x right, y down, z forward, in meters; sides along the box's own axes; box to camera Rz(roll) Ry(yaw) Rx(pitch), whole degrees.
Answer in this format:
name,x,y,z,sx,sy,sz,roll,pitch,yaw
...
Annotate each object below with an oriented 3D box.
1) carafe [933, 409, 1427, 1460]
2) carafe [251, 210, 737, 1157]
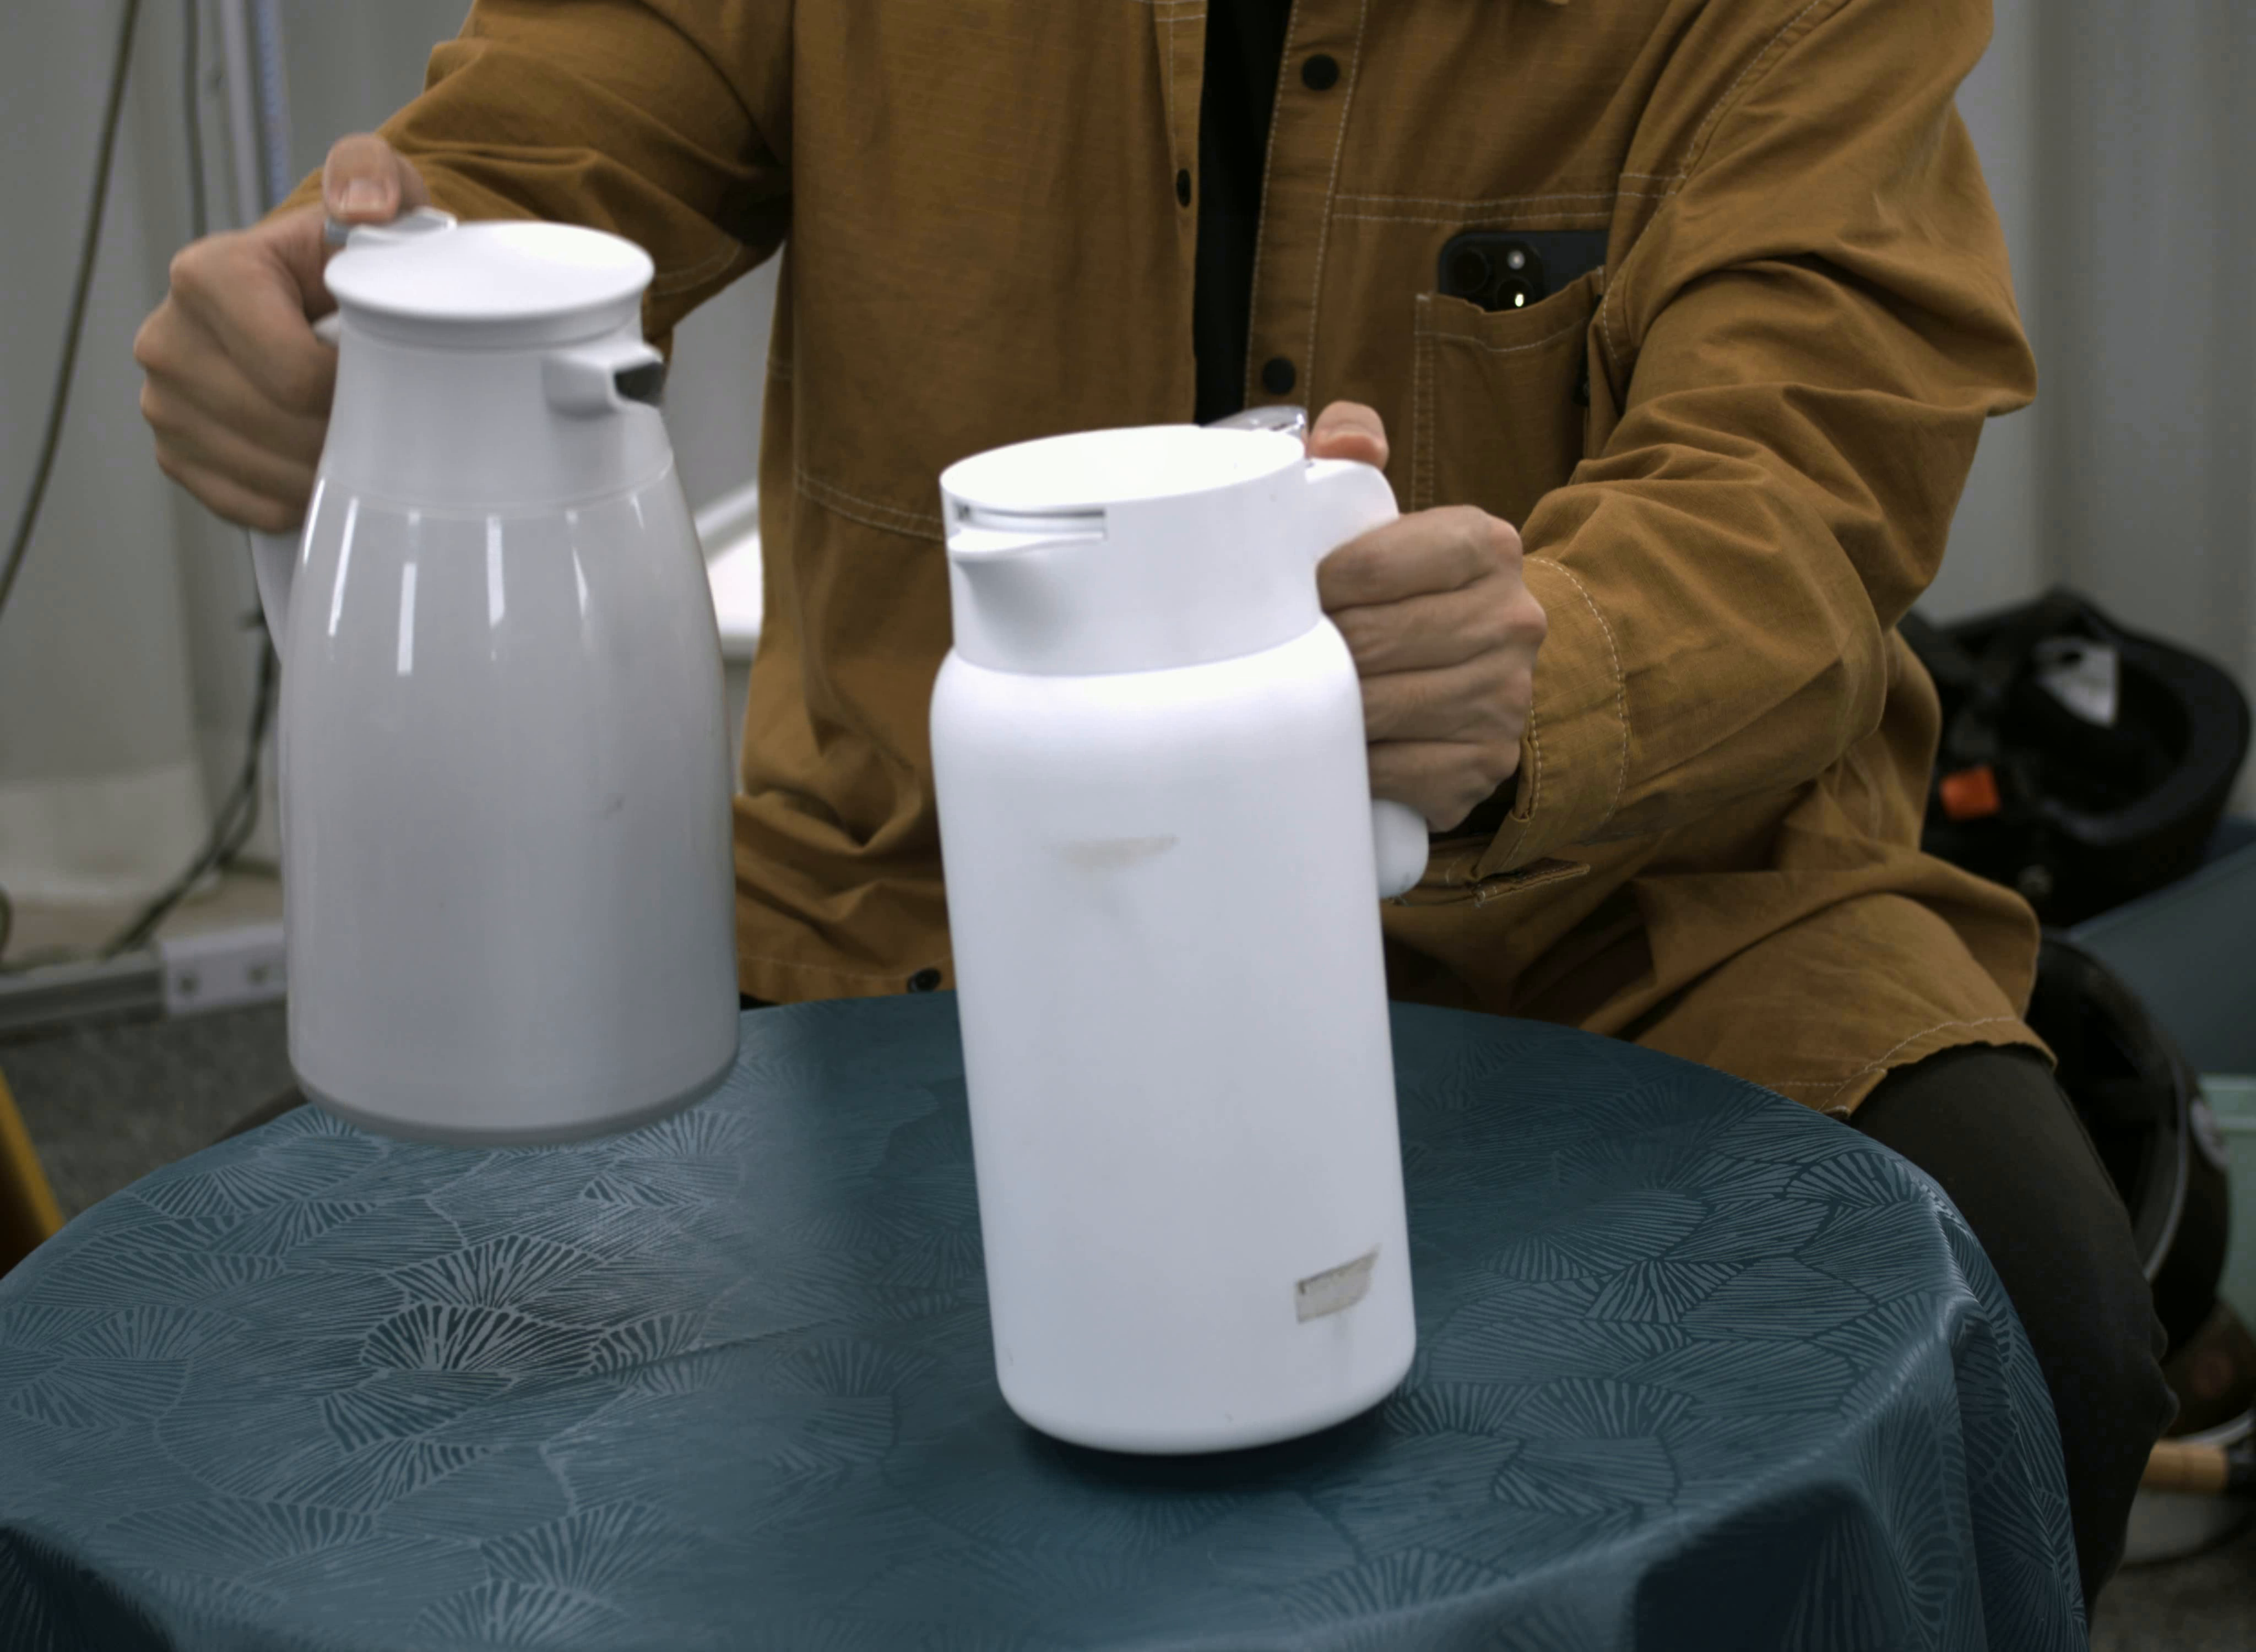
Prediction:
name,x,y,z,sx,sy,sz,roll,pitch,yaw
carafe,0.021,0.025,1.499,0.124,0.268,0.173,3,15,38
carafe,-0.193,-0.049,1.572,0.169,0.247,0.132,18,26,41
